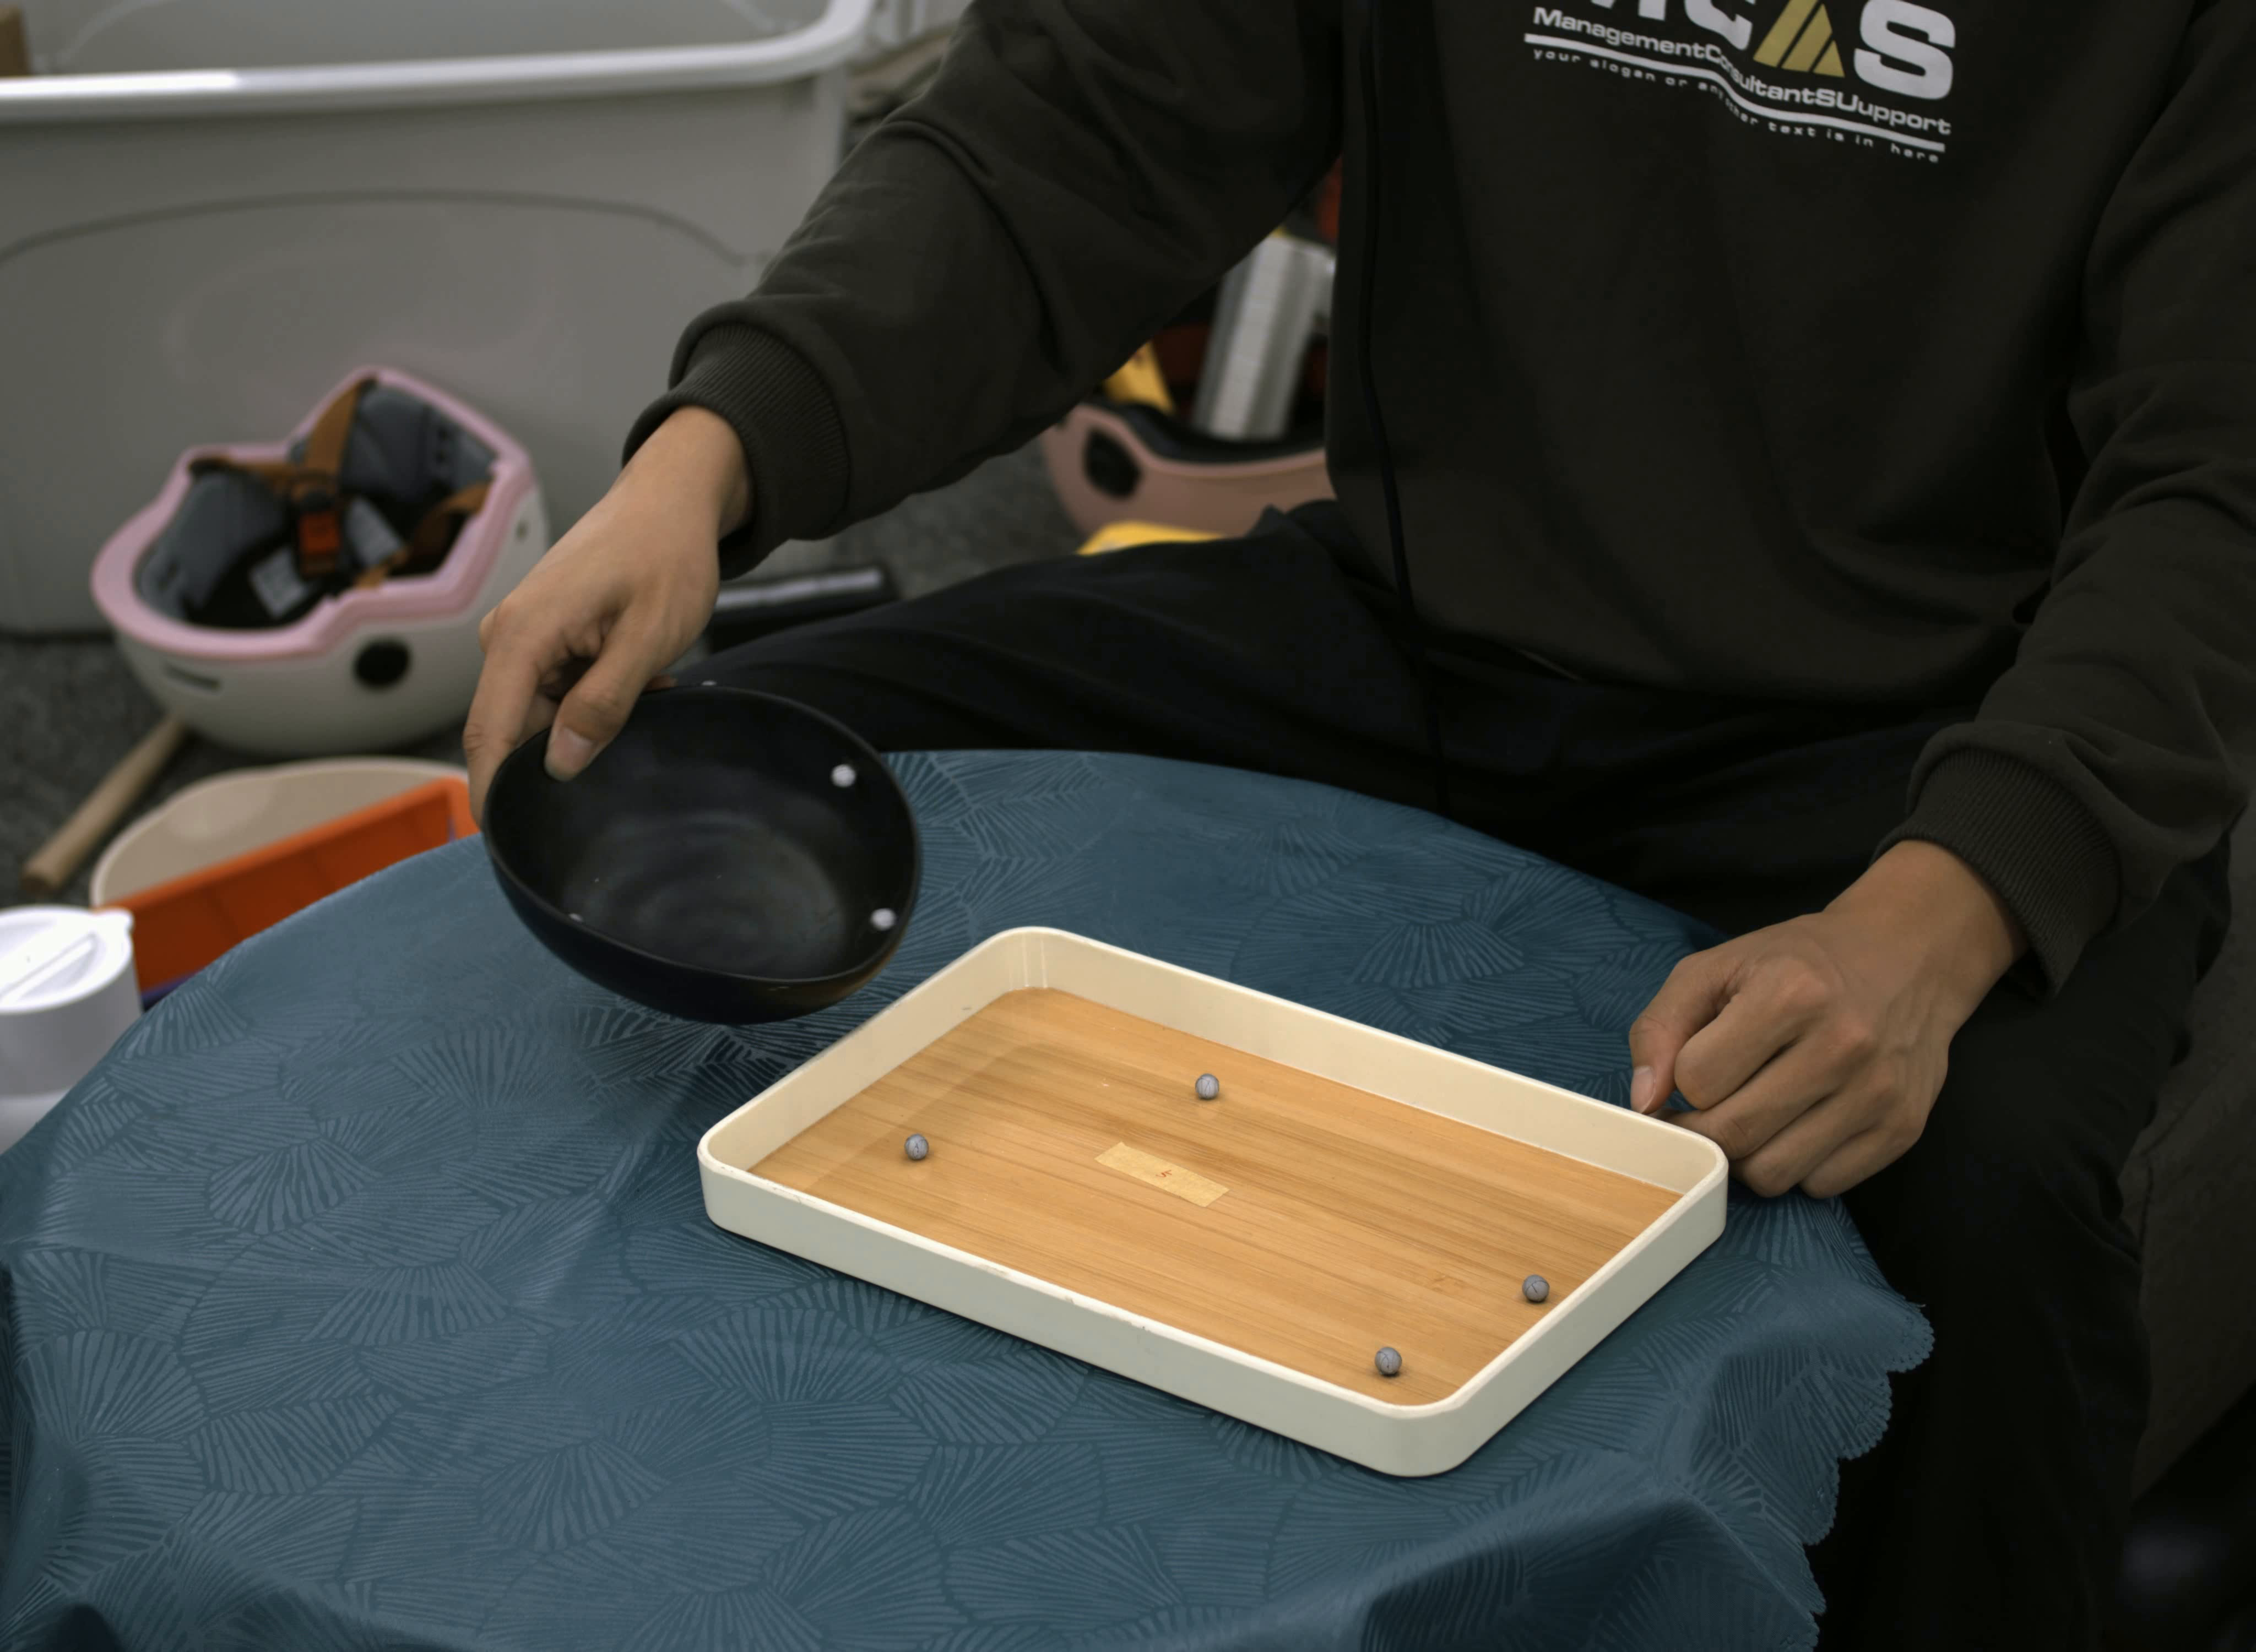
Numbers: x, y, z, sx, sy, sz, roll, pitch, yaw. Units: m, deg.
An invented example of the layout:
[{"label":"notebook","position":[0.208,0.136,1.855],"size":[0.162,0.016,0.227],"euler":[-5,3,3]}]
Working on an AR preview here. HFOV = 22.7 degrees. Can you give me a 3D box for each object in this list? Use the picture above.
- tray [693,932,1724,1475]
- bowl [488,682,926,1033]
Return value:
[{"label":"tray","position":[0.025,0.118,1.841],"size":[0.299,0.027,0.194],"euler":[16,32,33]},{"label":"bowl","position":[-0.142,0.022,1.946],"size":[0.170,0.065,0.139],"euler":[31,50,31]}]
